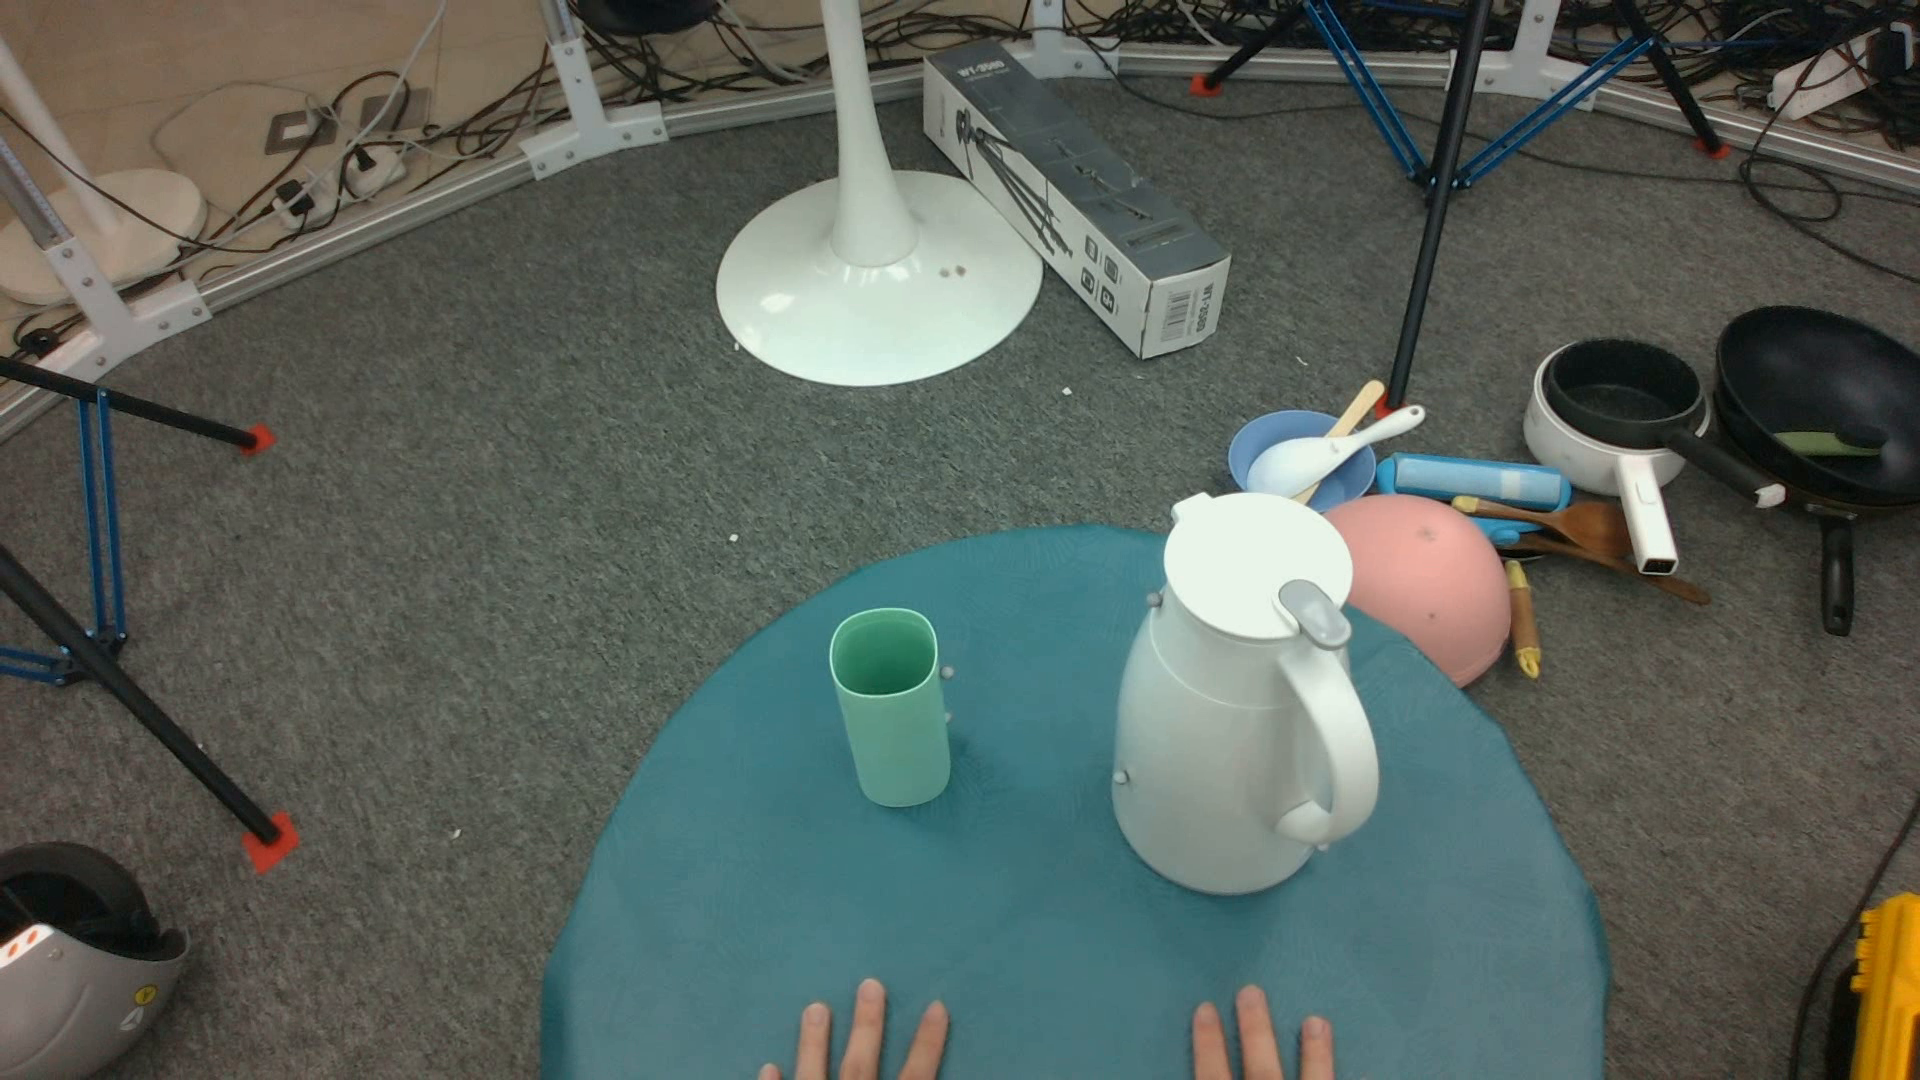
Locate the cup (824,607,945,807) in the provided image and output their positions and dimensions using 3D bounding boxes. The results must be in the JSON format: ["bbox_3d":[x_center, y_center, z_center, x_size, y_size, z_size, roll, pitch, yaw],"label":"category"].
[{"bbox_3d":[-0.044,0.105,0.840,0.067,0.131,0.067,-2,50,3],"label":"cup"}]

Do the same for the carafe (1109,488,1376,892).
[{"bbox_3d":[0.162,0.094,0.757,0.133,0.247,0.168,-24,53,-15],"label":"carafe"}]
